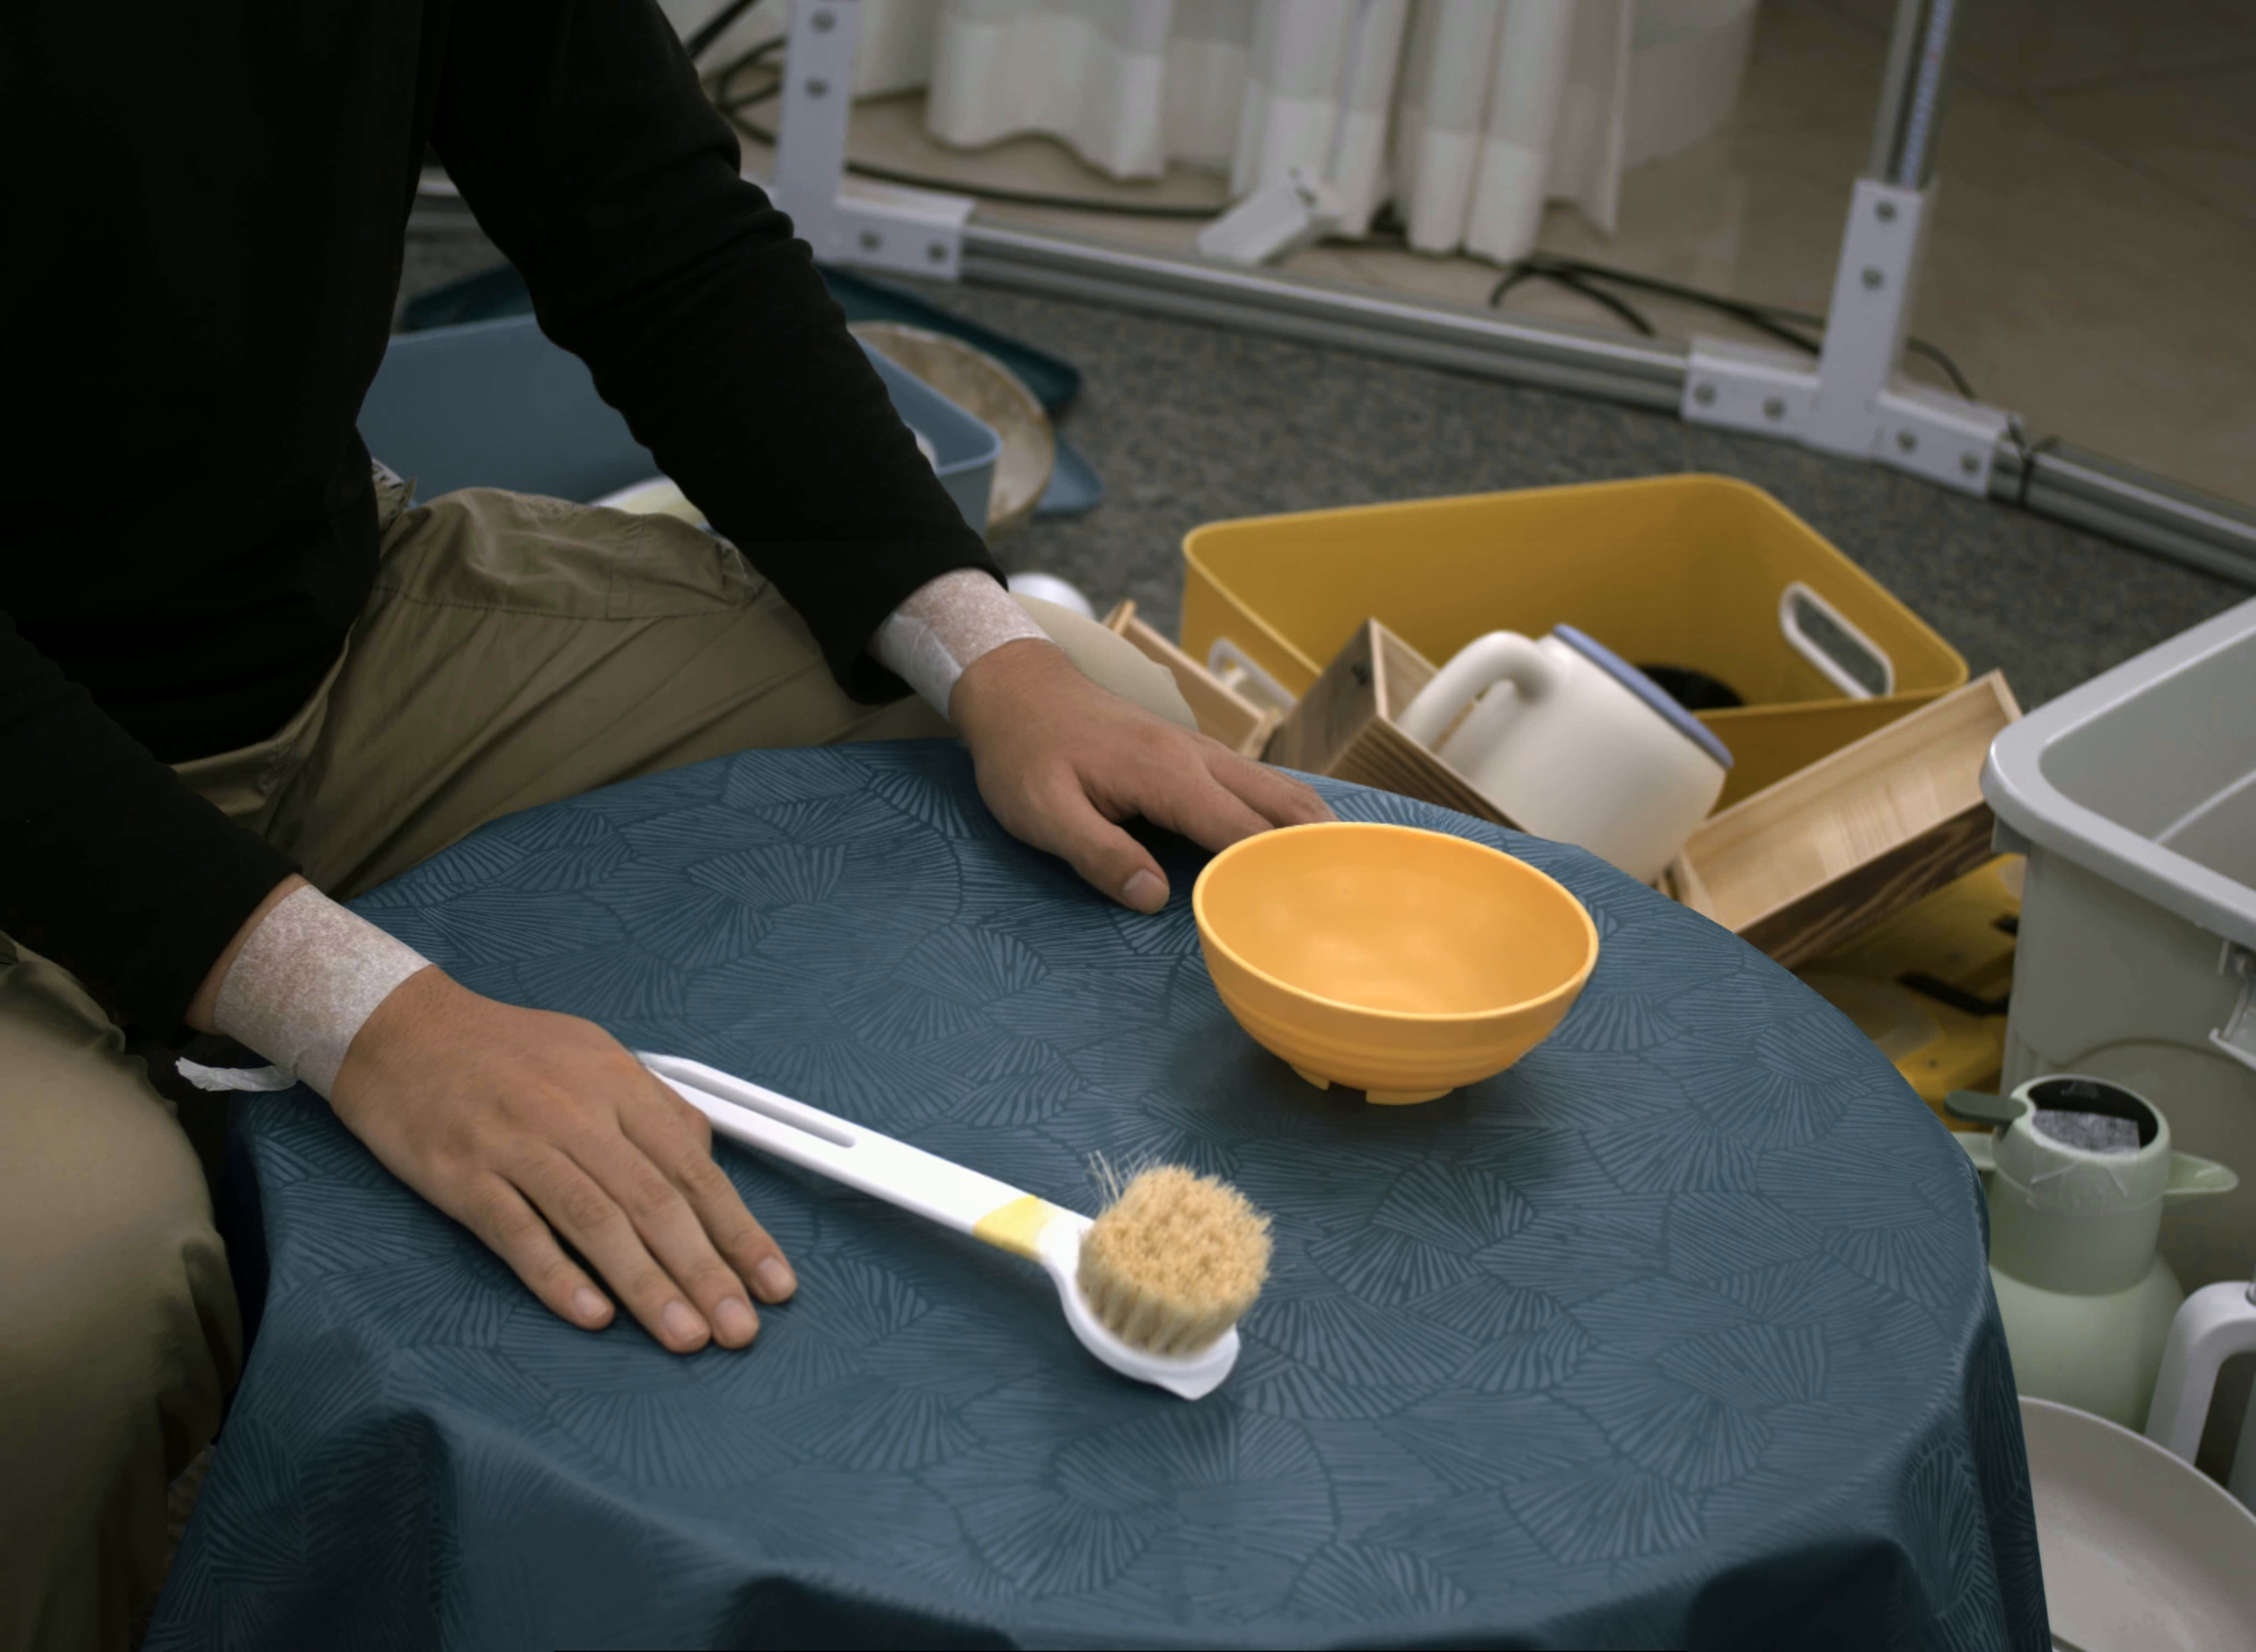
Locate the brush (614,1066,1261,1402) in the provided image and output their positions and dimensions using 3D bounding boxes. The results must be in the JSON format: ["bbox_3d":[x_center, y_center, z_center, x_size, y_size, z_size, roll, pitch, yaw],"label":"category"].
[{"bbox_3d":[-0.069,0.112,1.751,0.268,0.056,0.068,25,27,33],"label":"brush"}]

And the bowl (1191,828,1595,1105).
[{"bbox_3d":[0.090,0.058,1.887,0.145,0.060,0.146,5,25,-3],"label":"bowl"}]
